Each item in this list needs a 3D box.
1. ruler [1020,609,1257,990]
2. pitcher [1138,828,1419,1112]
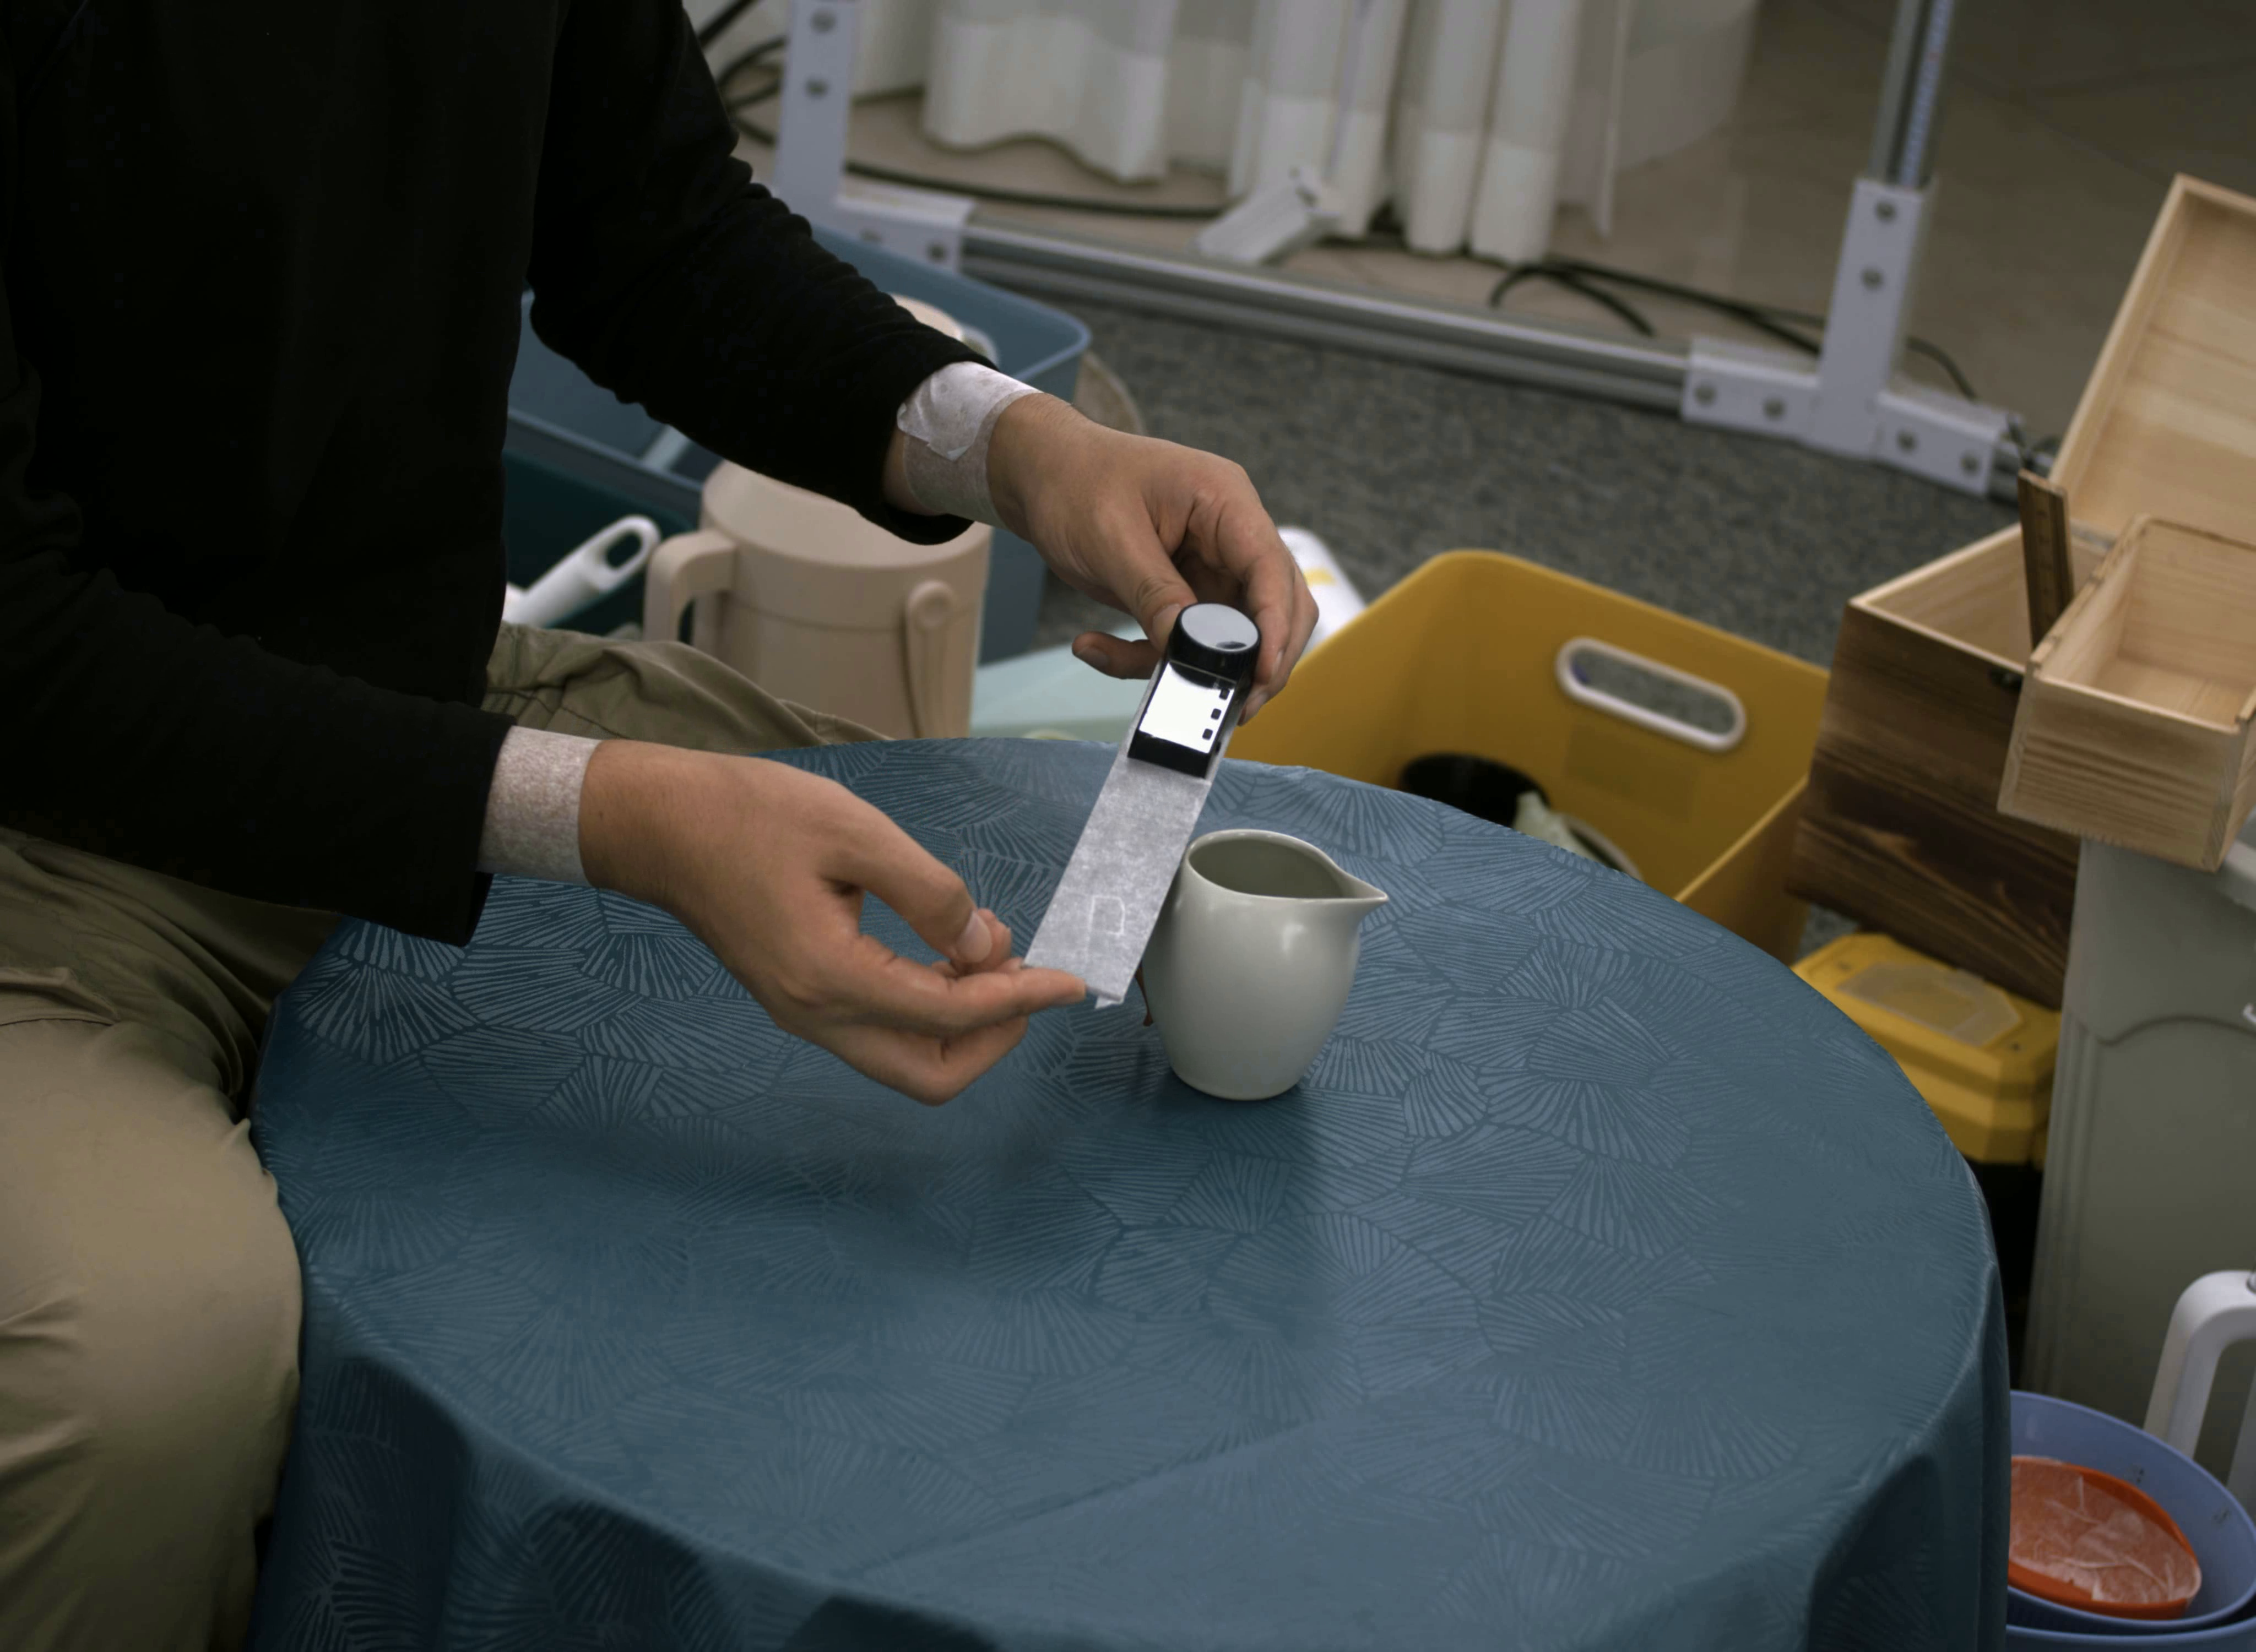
[{"bbox_3d":[0.007,-0.014,1.849,0.038,0.024,0.219,12,34,8],"label":"ruler"},{"bbox_3d":[0.044,0.049,1.864,0.120,0.087,0.075,24,28,29],"label":"pitcher"}]
